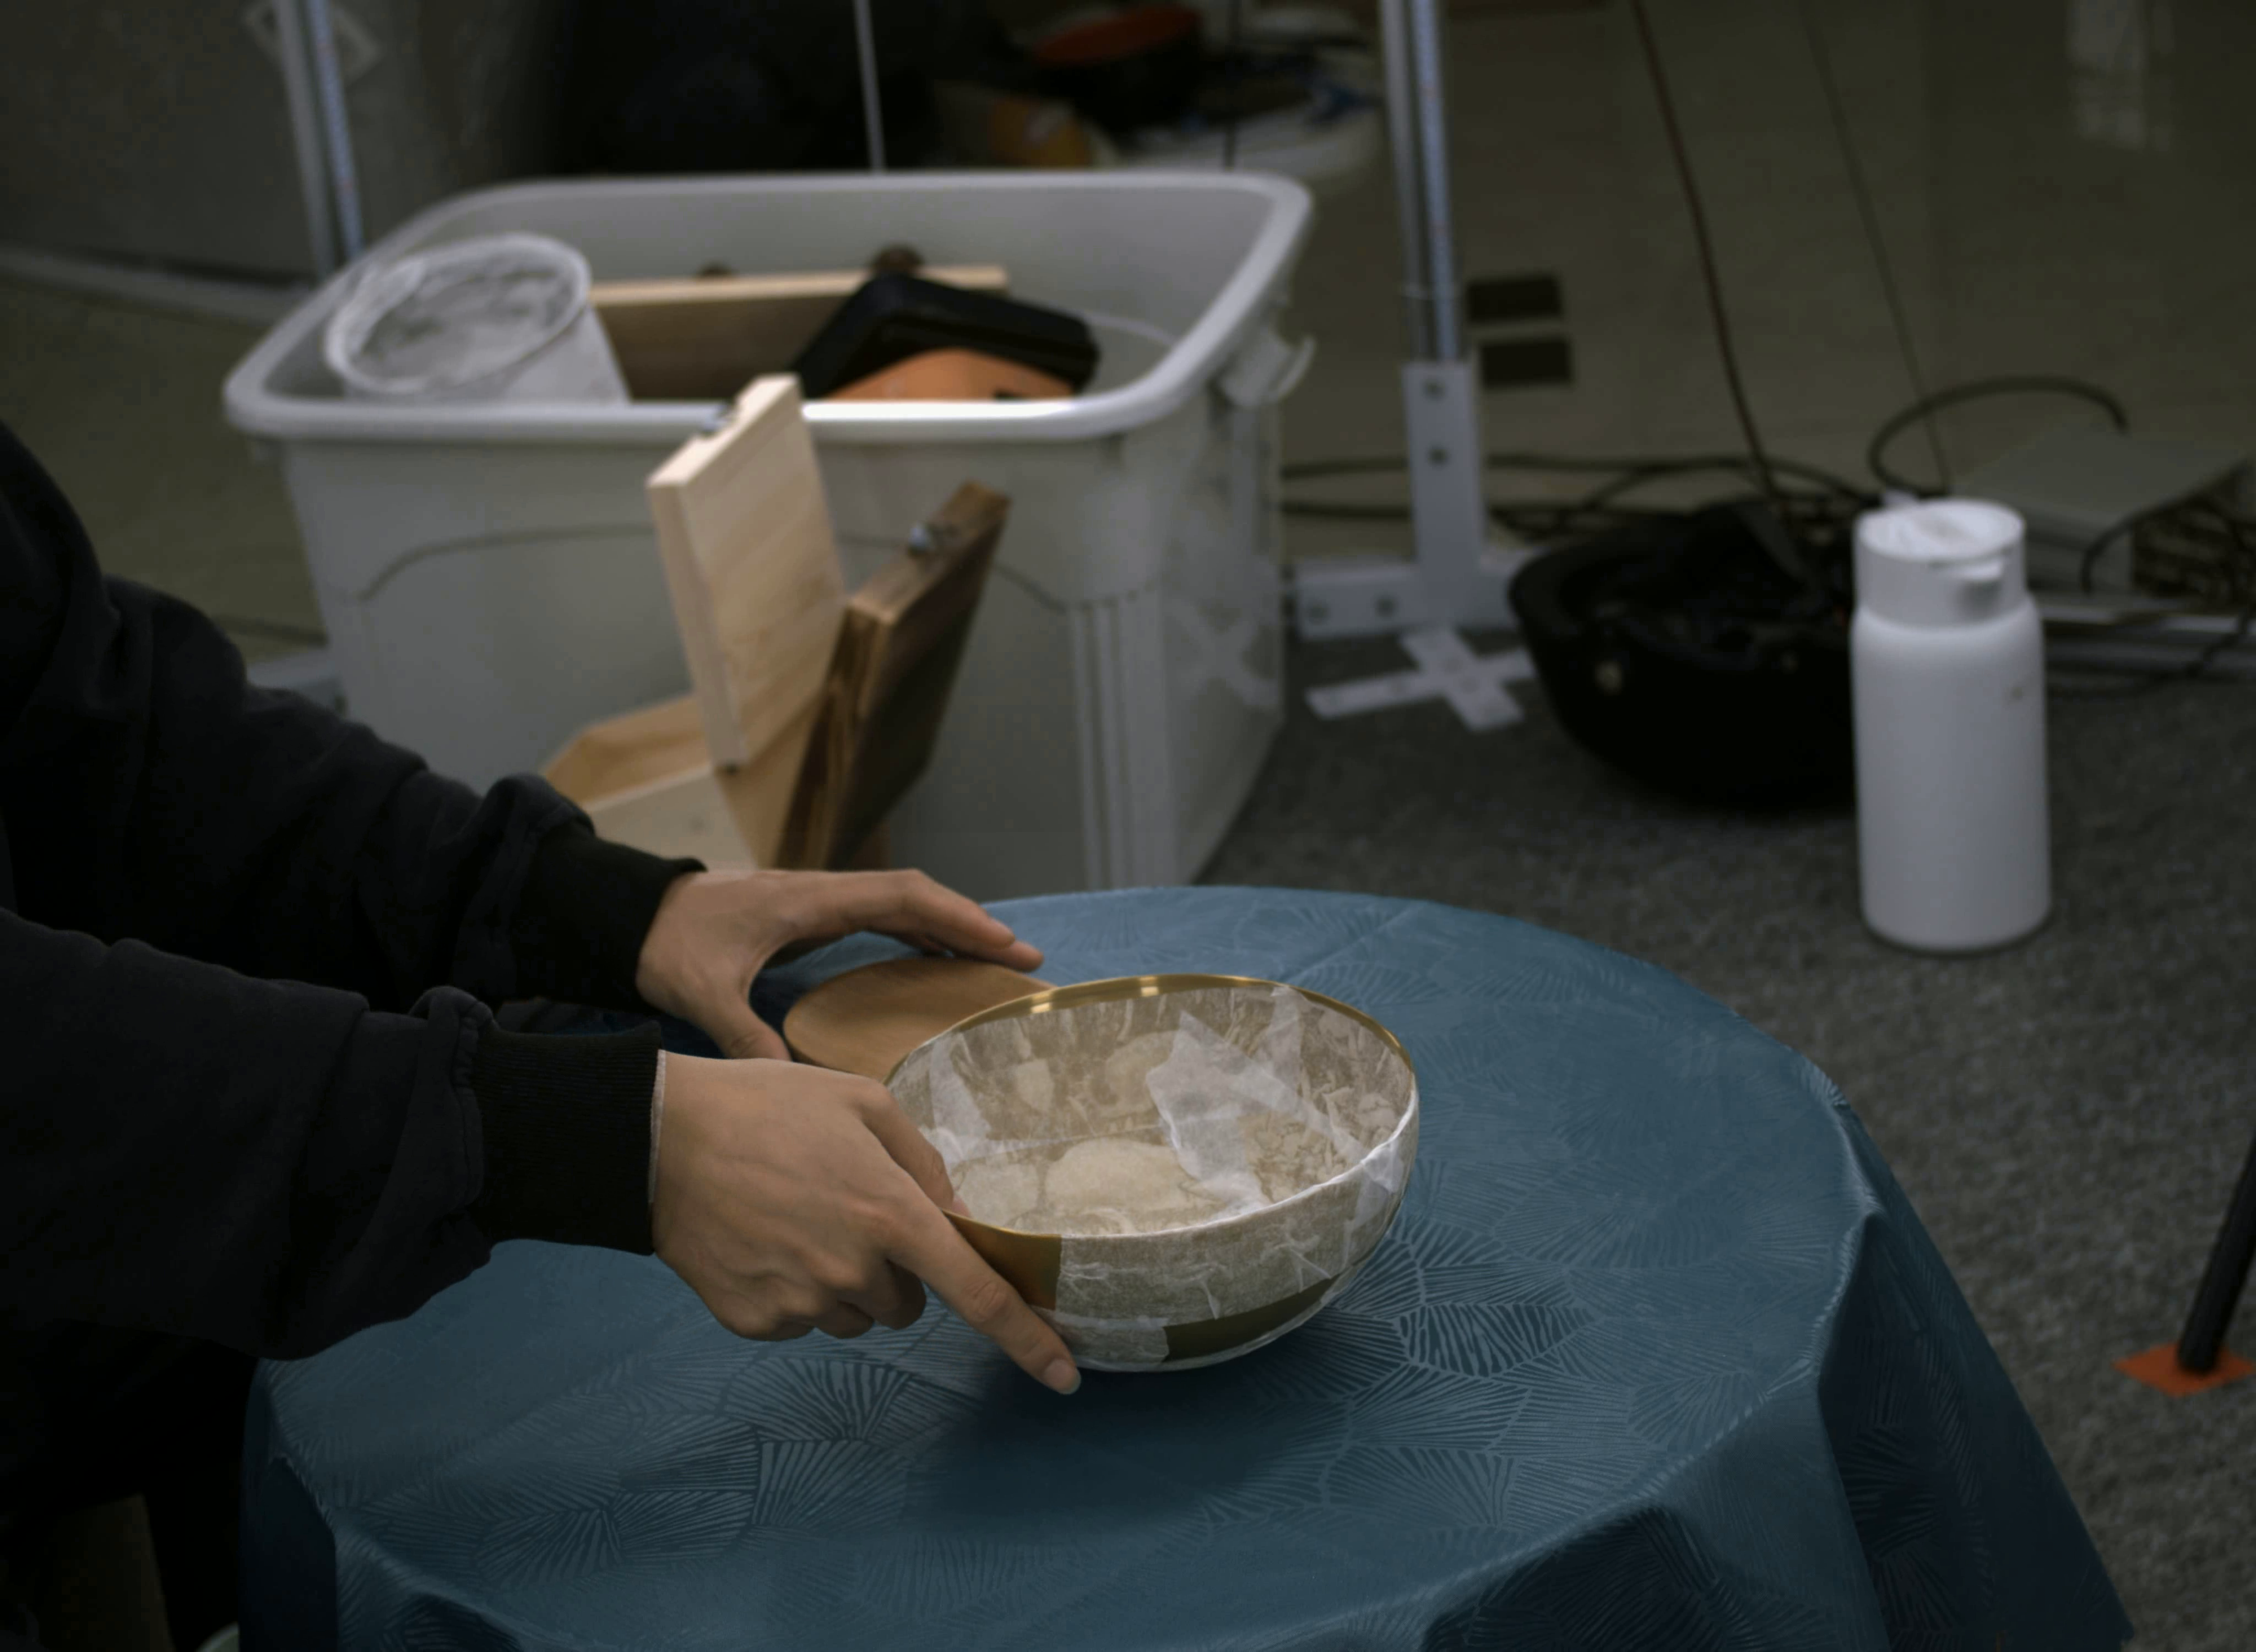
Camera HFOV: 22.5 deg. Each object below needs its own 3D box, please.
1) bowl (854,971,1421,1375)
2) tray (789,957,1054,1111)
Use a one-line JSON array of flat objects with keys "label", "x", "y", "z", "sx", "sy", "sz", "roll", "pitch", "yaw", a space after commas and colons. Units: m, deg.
[{"label": "bowl", "x": 0.007, "y": 0.136, "z": 2.047, "sx": 0.214, "sy": 0.096, "sz": 0.211, "roll": -6, "pitch": 26, "yaw": 3}, {"label": "tray", "x": -0.039, "y": 0.097, "z": 2.235, "sx": 0.229, "sy": 0.020, "sz": 0.101, "roll": 19, "pitch": 37, "yaw": 40}]
